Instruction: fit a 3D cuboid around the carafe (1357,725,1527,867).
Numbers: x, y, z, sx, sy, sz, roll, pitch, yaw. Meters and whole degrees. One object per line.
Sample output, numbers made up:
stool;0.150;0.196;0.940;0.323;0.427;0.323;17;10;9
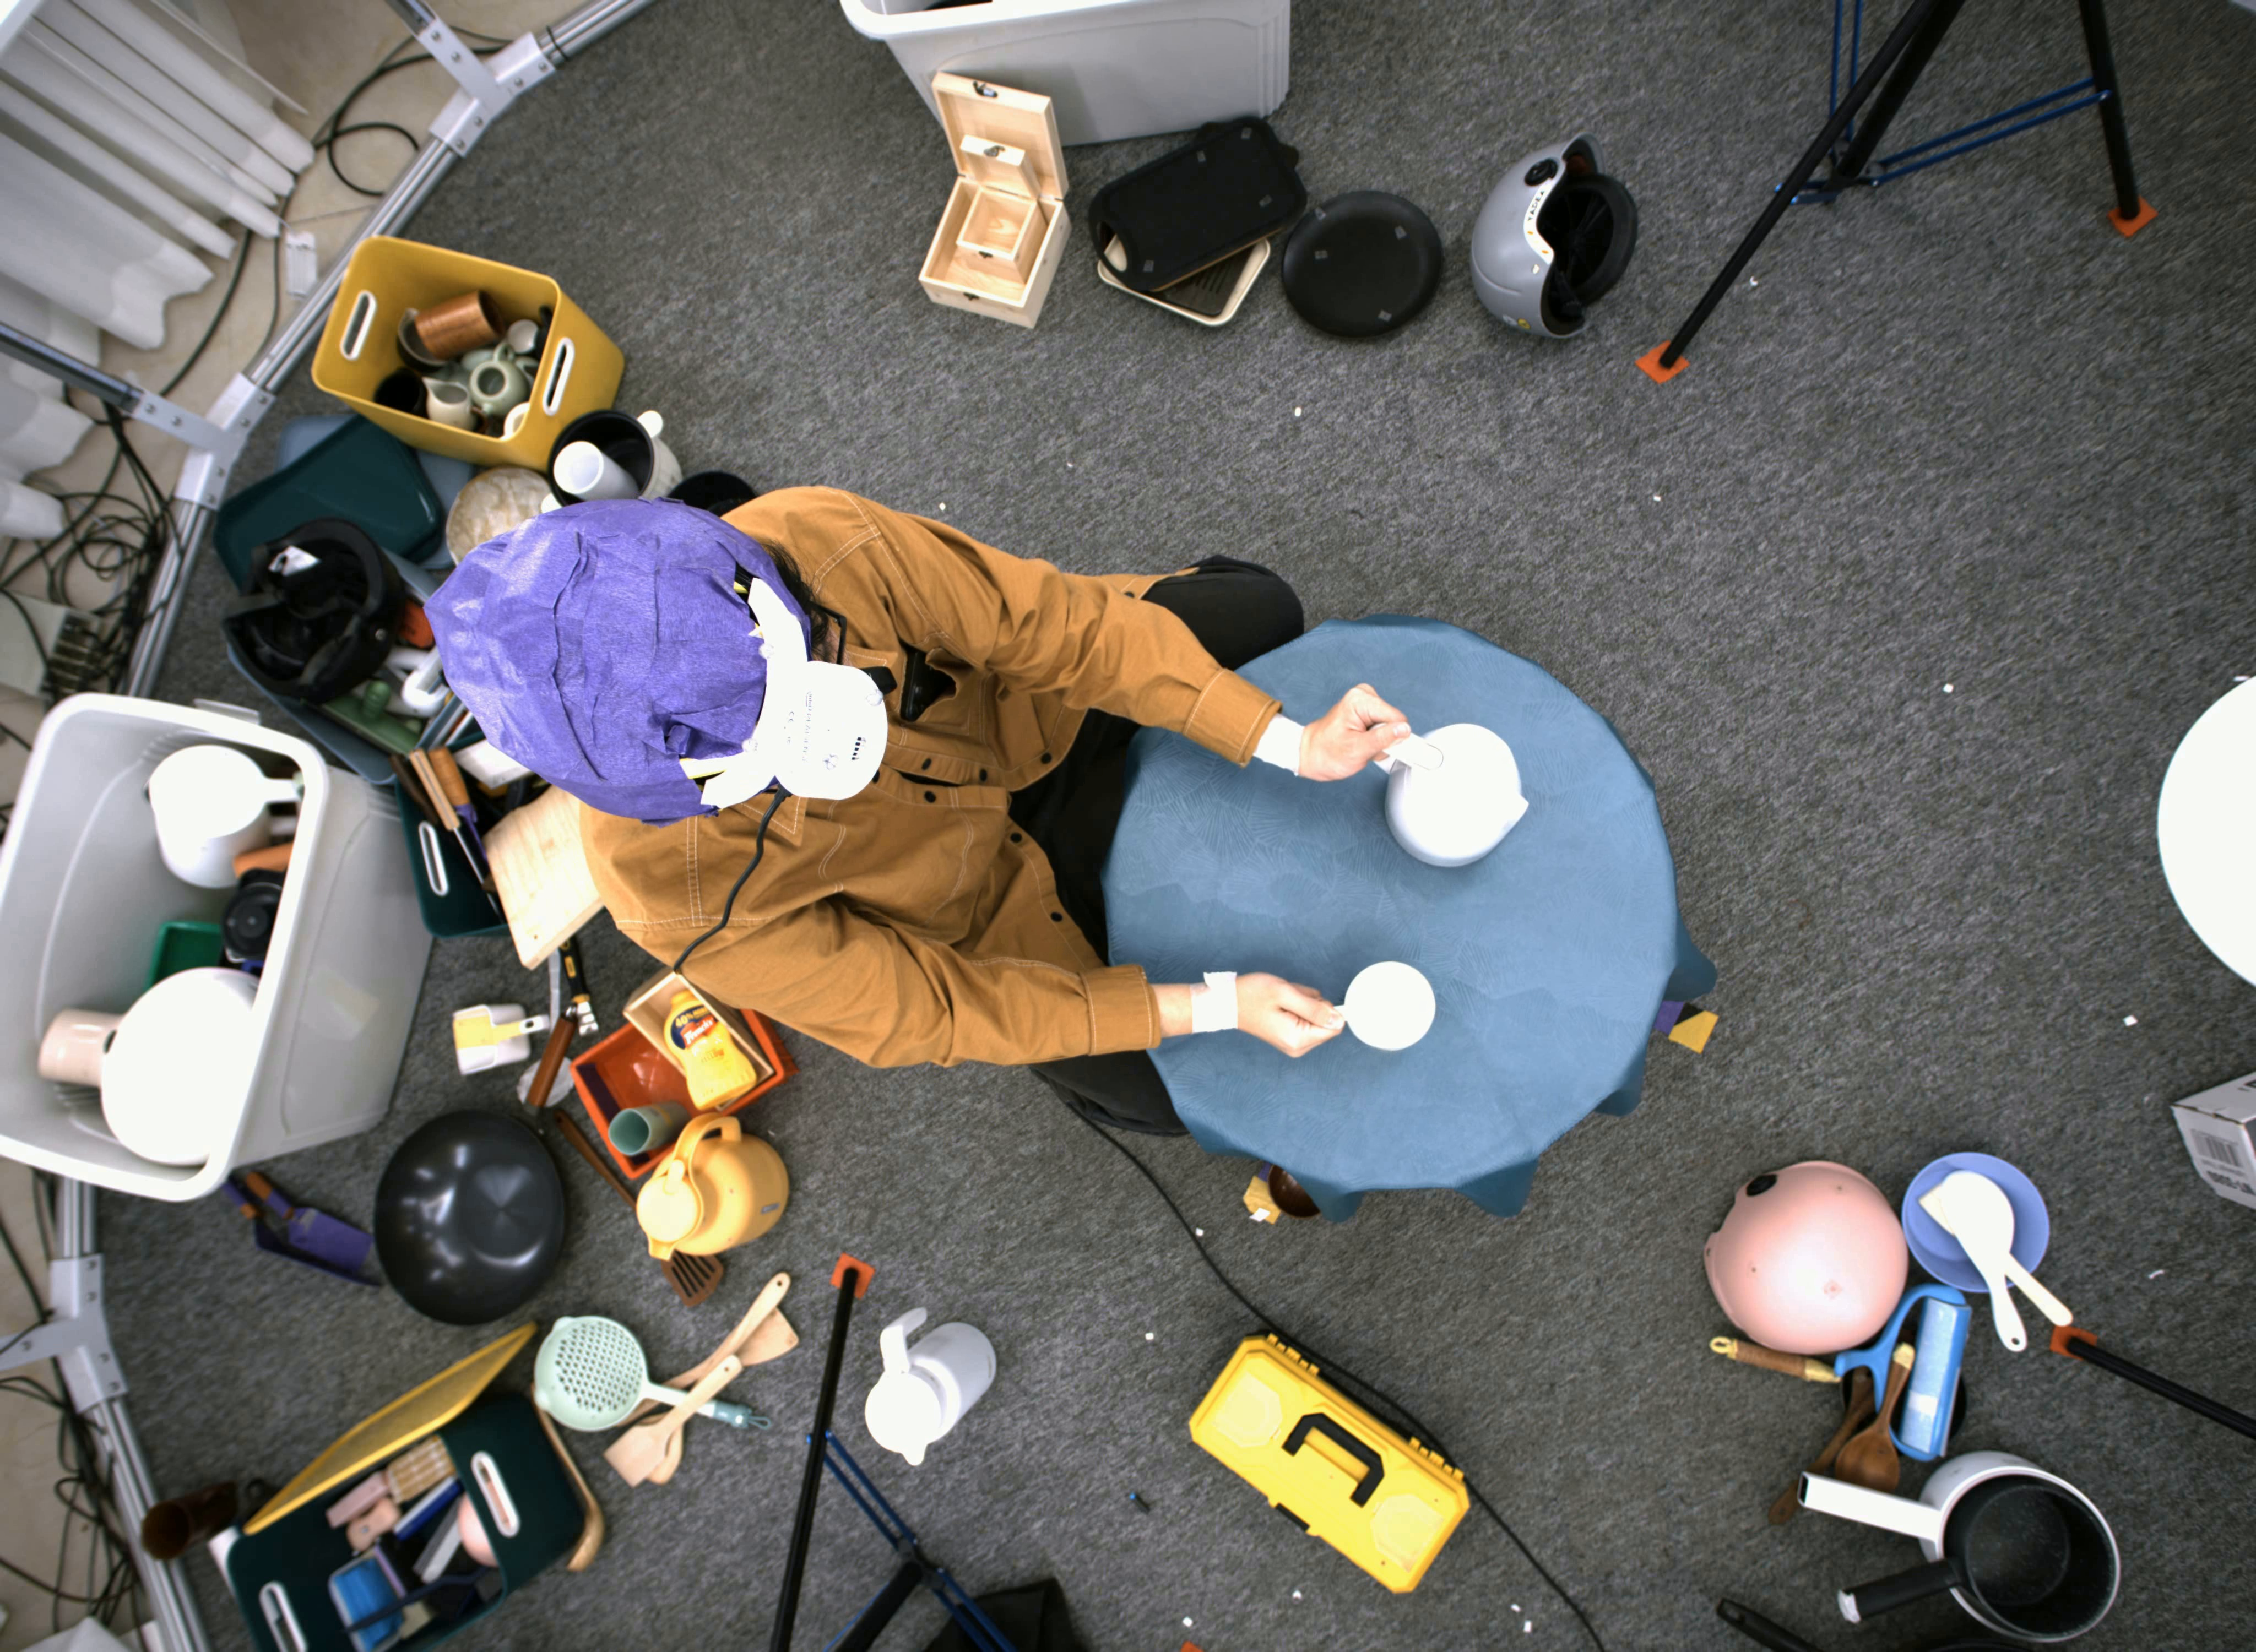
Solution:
carafe;0.299;-0.043;1.331;0.167;0.248;0.133;30;92;11

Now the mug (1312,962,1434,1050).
mug;0.245;0.184;1.398;0.119;0.102;0.084;-11;82;6
